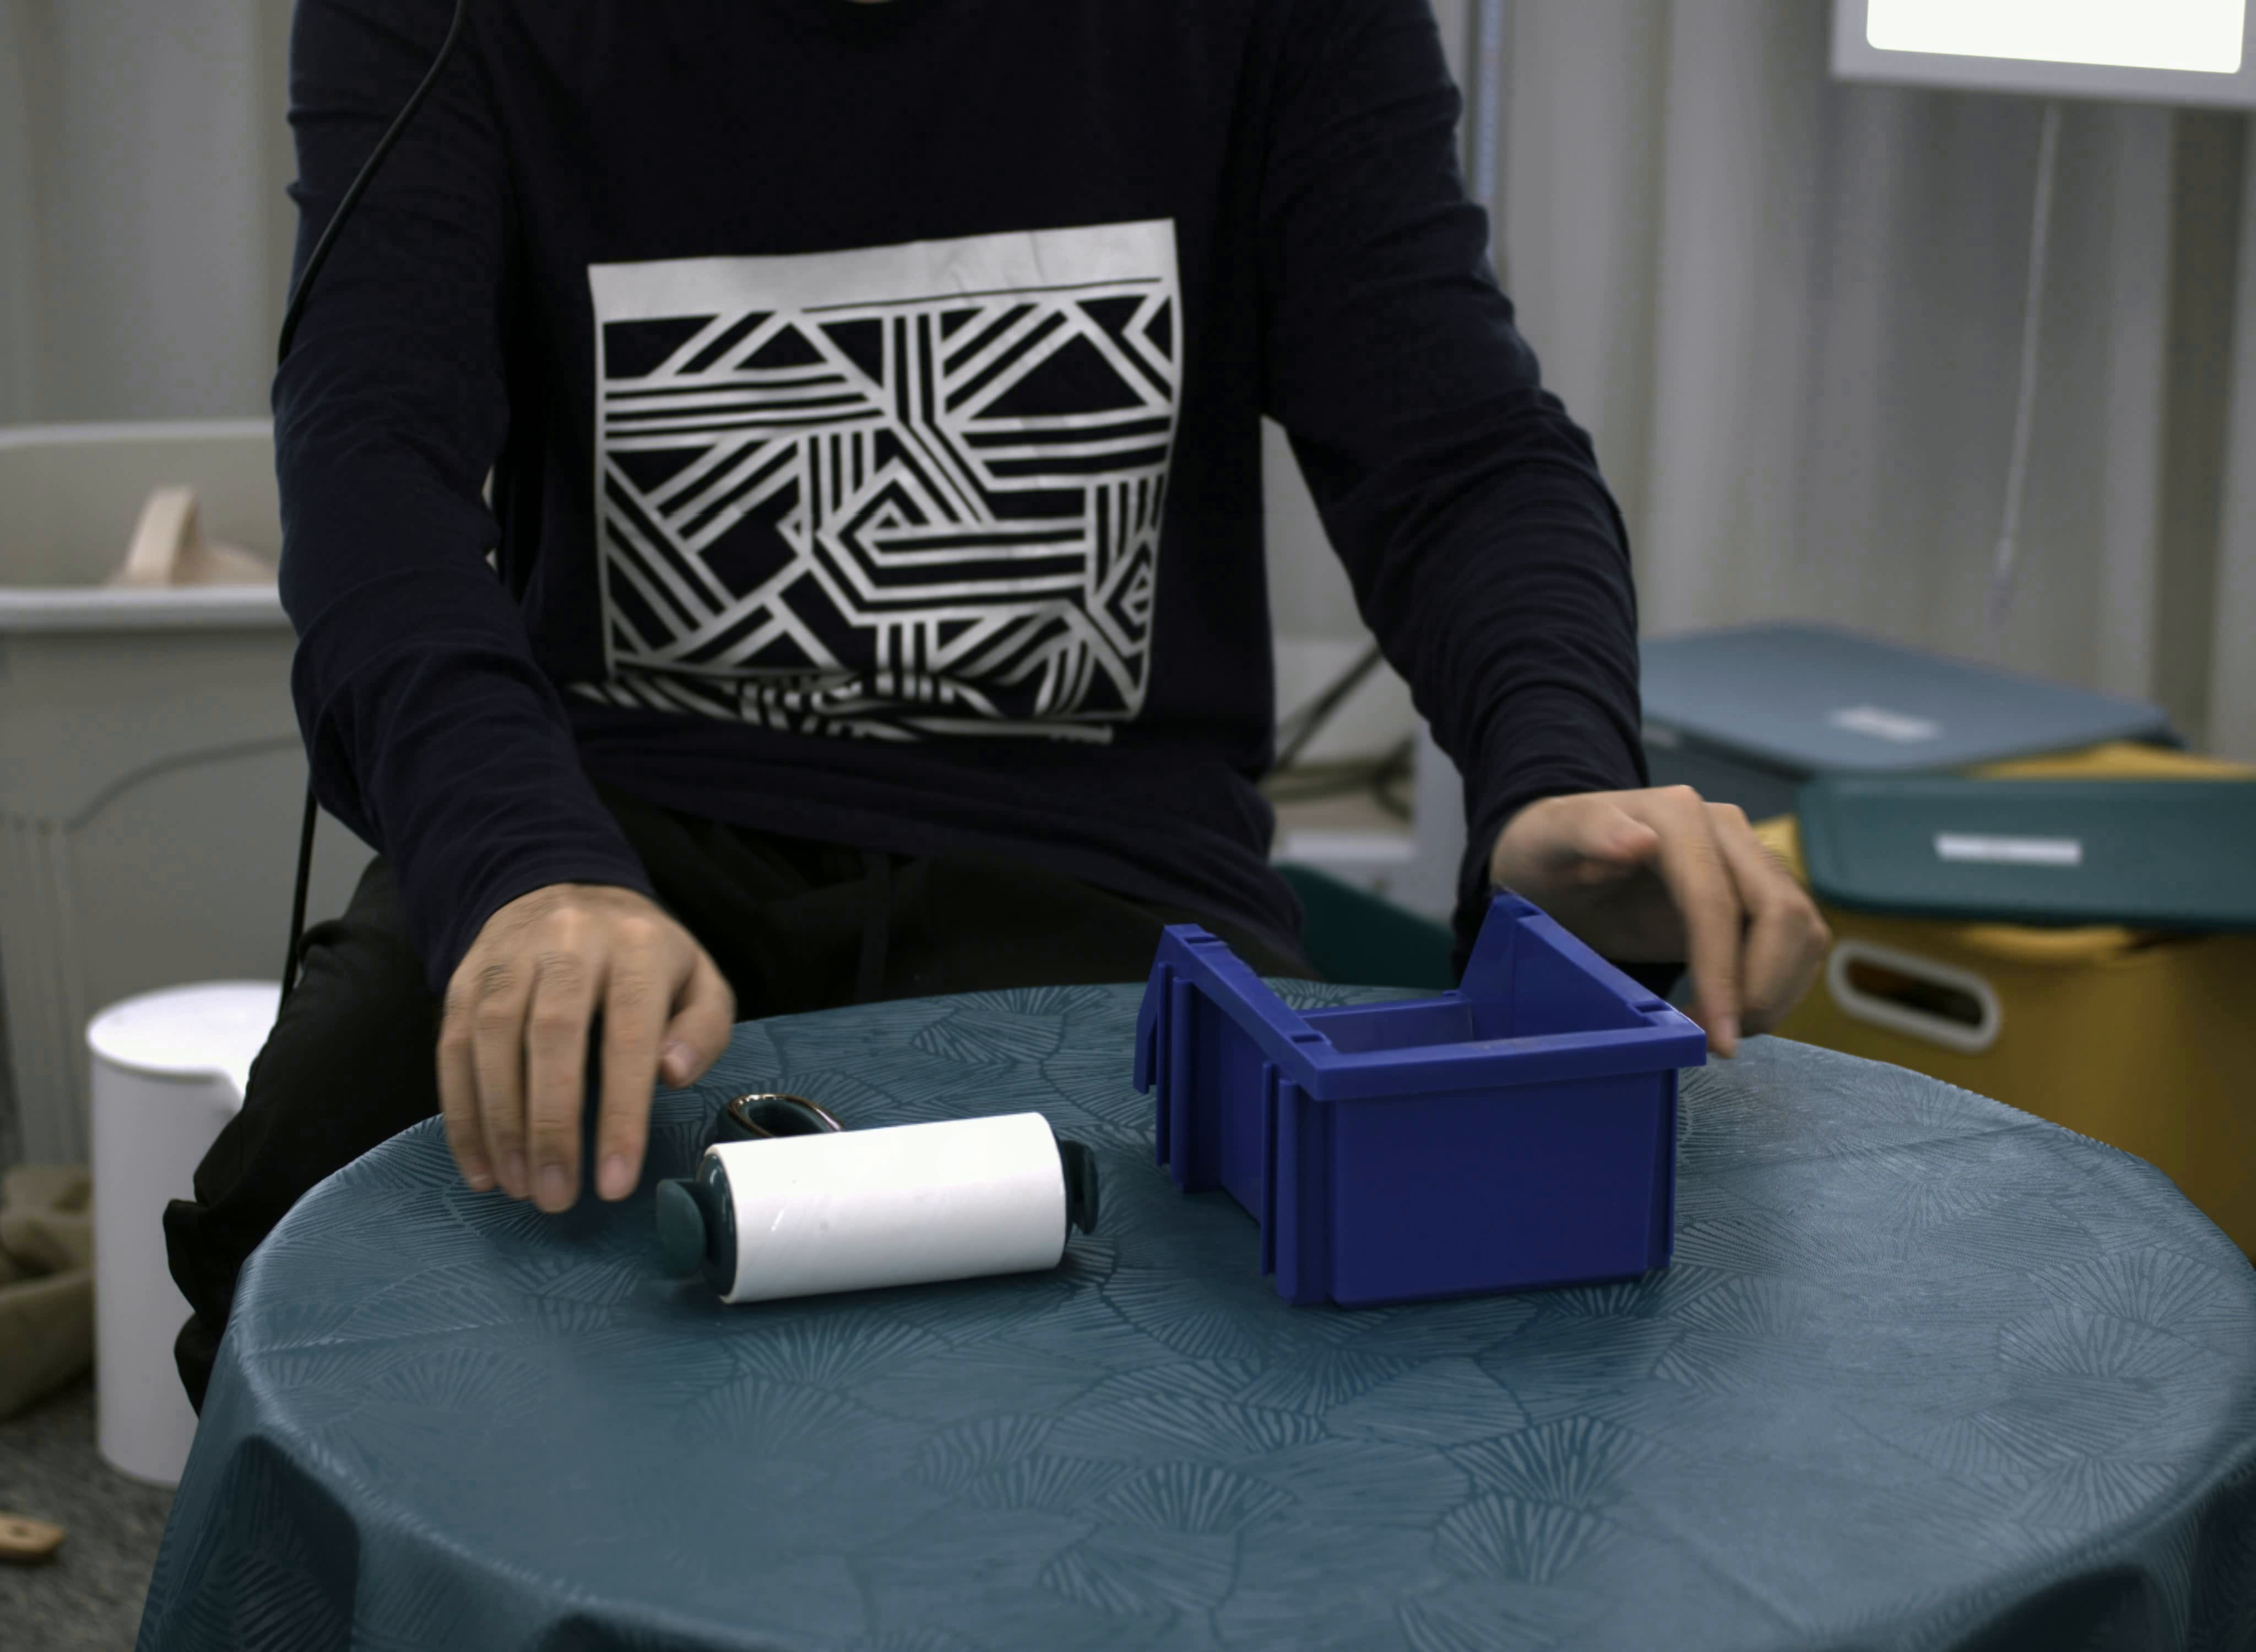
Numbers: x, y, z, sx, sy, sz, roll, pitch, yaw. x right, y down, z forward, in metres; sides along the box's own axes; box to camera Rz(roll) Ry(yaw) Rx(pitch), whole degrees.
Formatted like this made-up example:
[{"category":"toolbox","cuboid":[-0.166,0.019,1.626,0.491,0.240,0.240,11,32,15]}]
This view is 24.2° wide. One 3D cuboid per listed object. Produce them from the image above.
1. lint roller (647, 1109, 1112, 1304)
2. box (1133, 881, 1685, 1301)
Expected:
[{"category":"lint roller","cuboid":[-0.093,0.099,1.599,0.134,0.048,0.178,-5,12,-18]},{"category":"box","cuboid":[0.079,0.076,1.604,0.124,0.082,0.177,-5,19,-15]}]
